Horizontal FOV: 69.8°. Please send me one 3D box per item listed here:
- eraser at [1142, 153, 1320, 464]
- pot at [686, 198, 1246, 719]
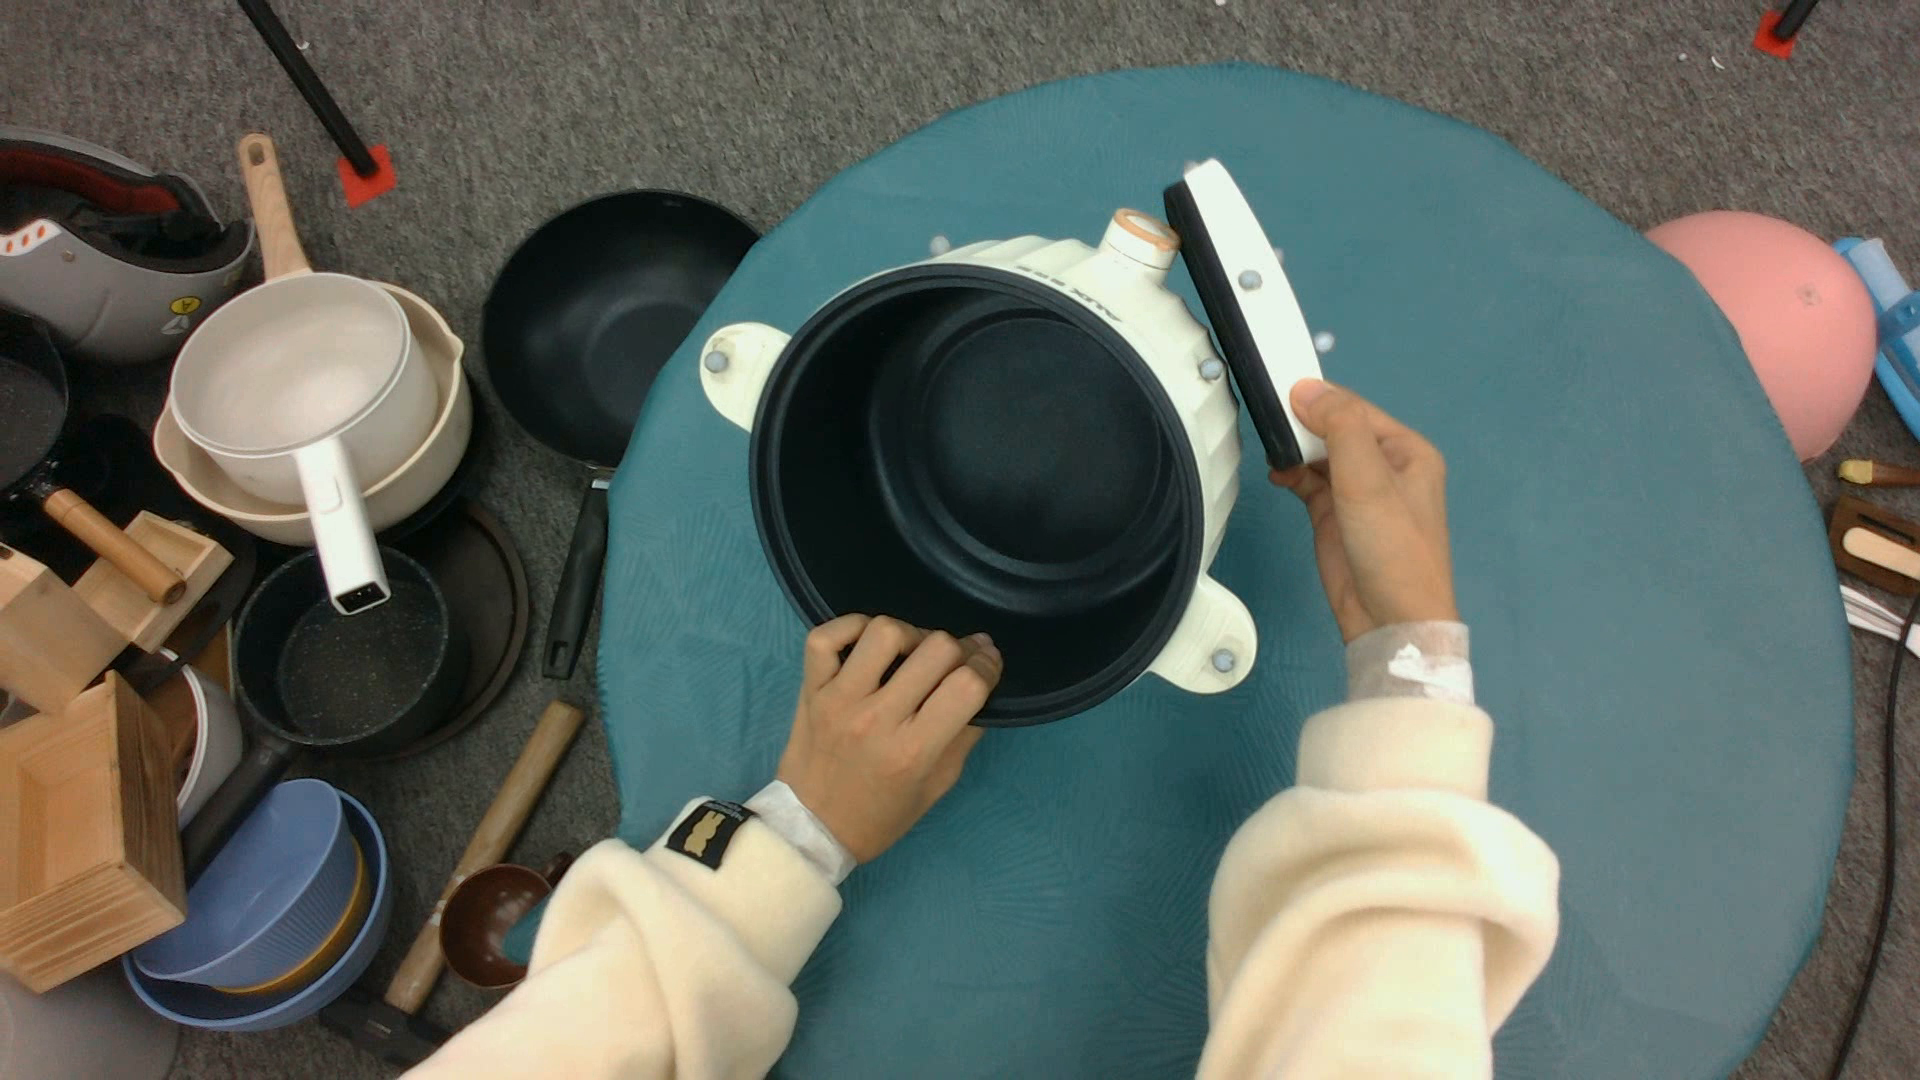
[{"bbox_3d":[0.116,-0.095,0.569,0.034,0.063,0.131,-24,86,12],"label":"eraser"},{"bbox_3d":[0.021,-0.042,0.569,0.240,0.189,0.143,29,30,8],"label":"pot"}]
